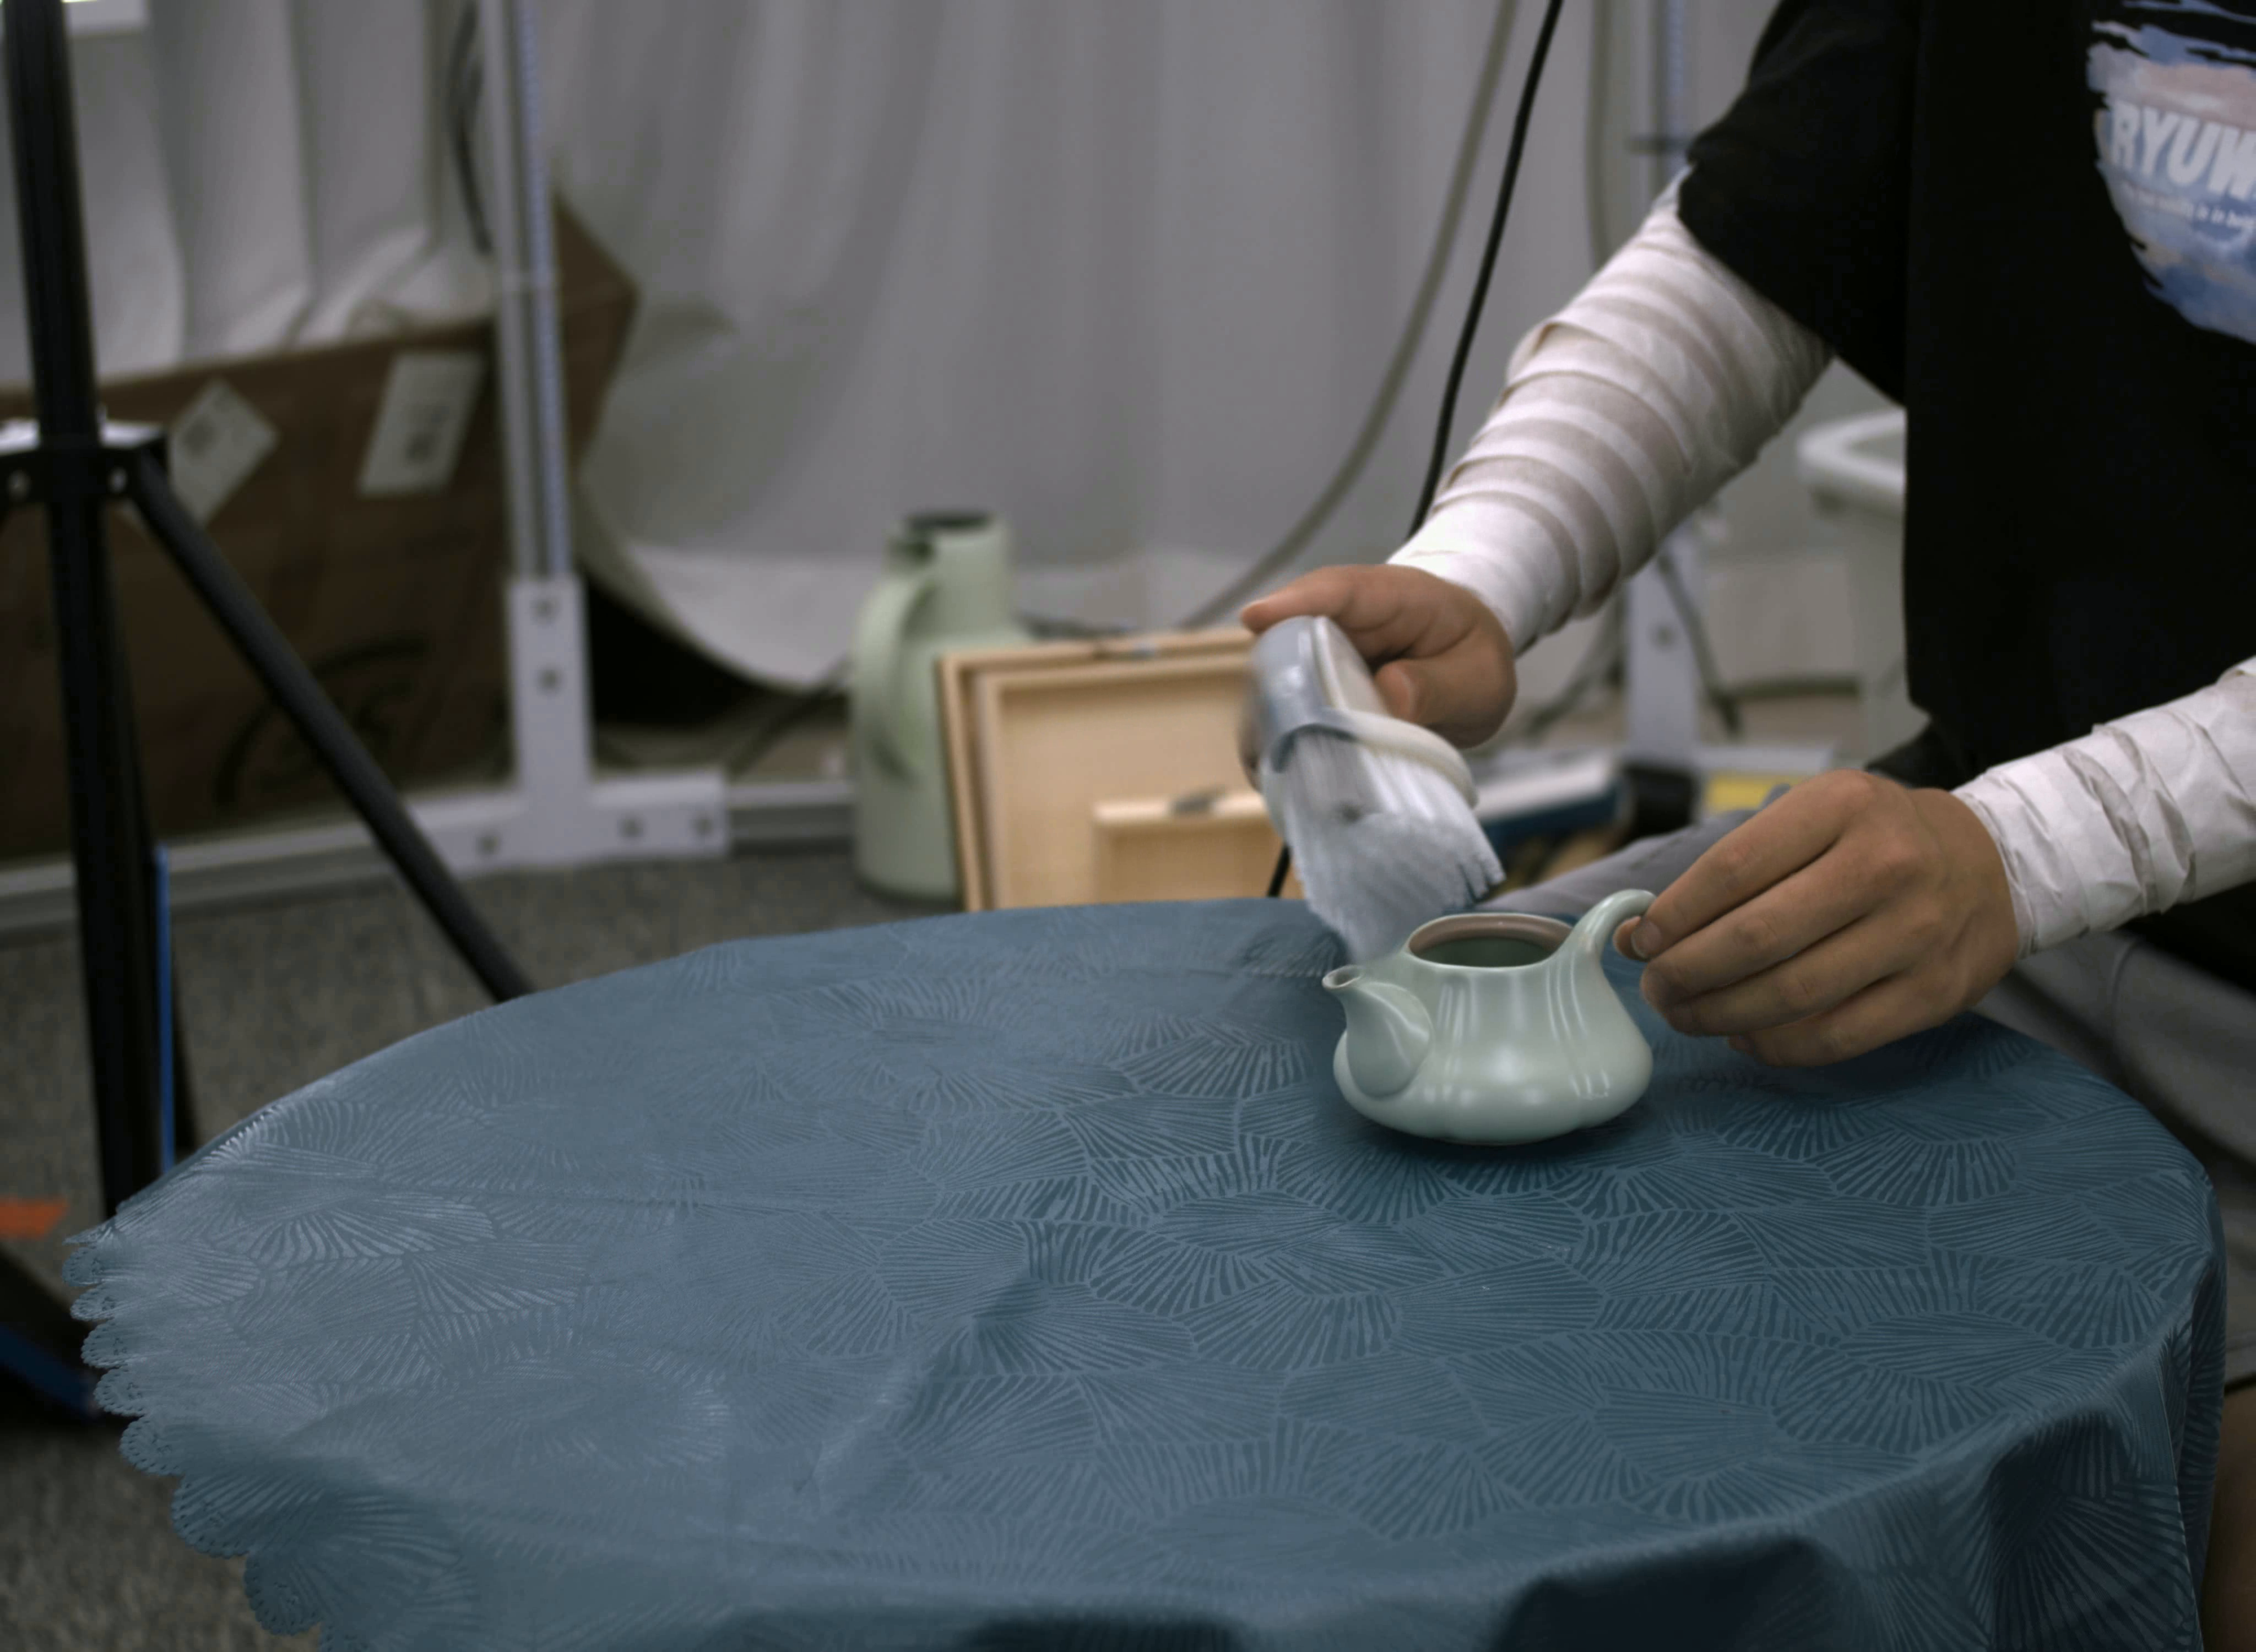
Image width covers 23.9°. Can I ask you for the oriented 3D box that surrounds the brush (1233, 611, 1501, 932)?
[{"bbox_3d":[0.065,-0.026,1.672,0.061,0.095,0.173,-27,-15,10],"label":"brush"}]

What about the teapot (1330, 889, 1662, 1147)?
[{"bbox_3d":[0.113,0.060,1.603,0.134,0.061,0.098,-14,17,-36],"label":"teapot"}]
